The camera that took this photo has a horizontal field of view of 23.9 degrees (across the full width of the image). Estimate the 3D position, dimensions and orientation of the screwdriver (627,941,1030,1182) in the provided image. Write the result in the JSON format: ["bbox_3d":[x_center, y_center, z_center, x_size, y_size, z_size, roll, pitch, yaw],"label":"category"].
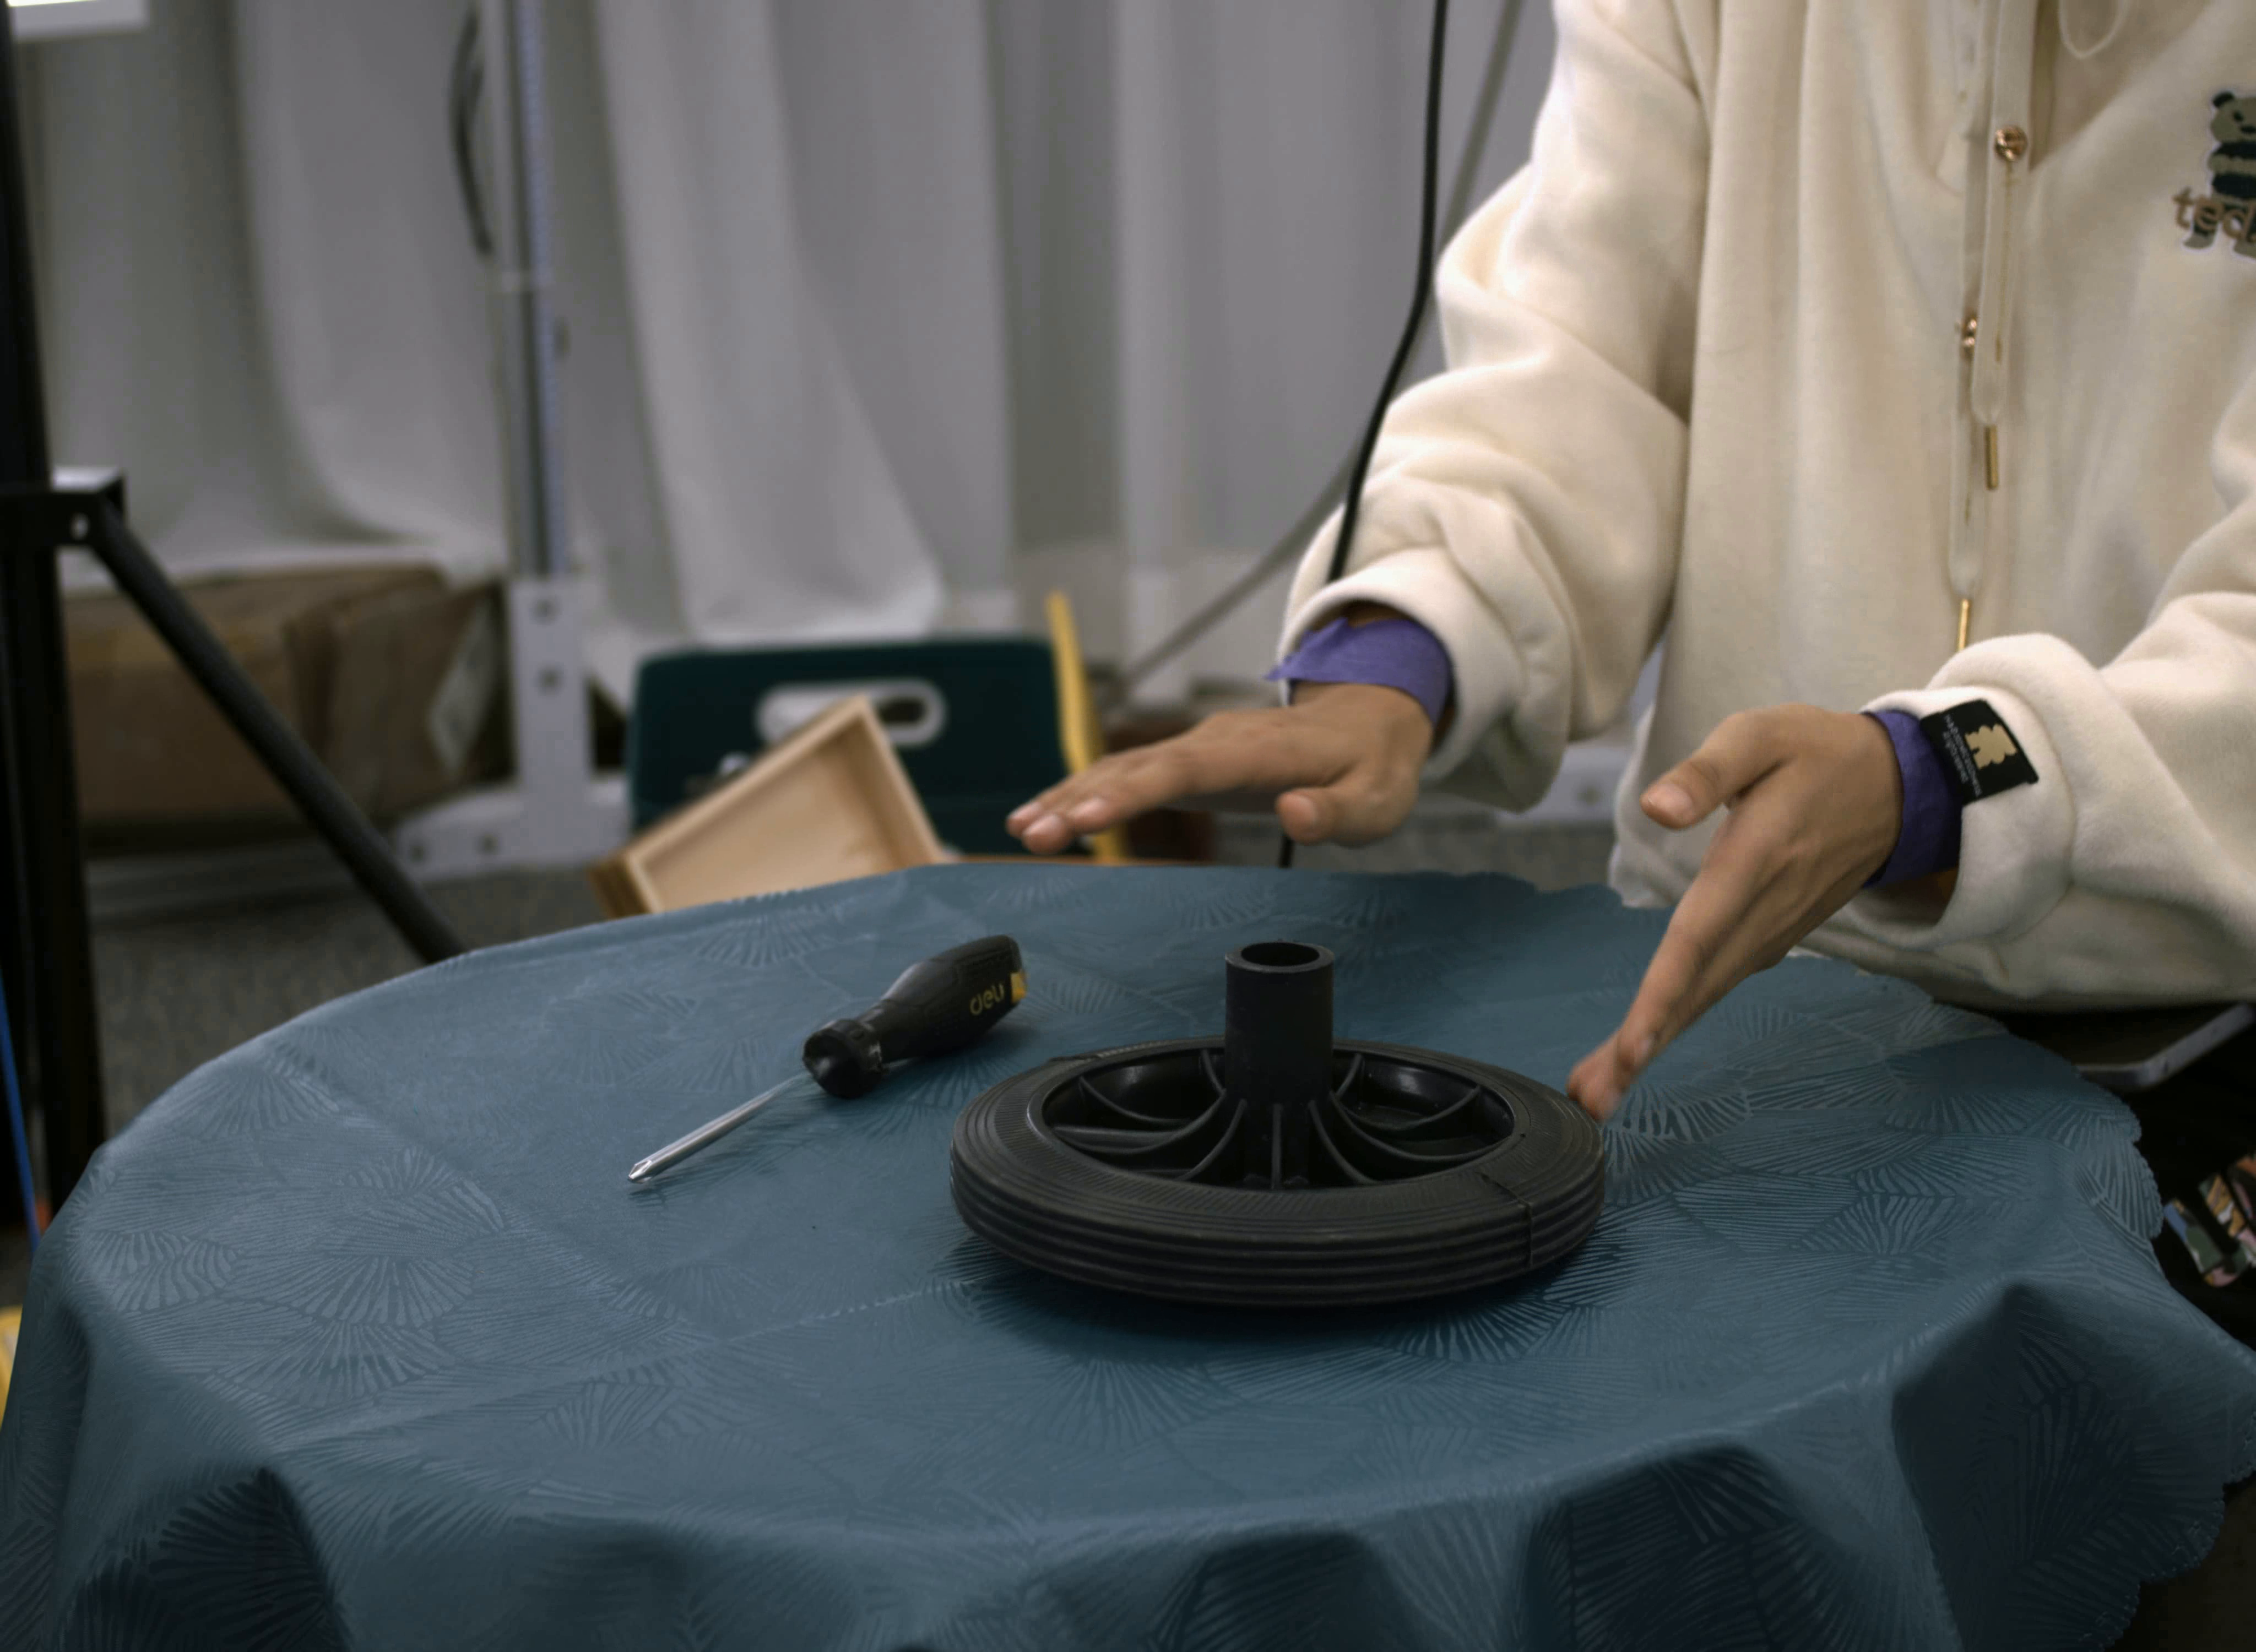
[{"bbox_3d":[-0.090,0.074,1.647,0.032,0.031,0.193,8,21,31],"label":"screwdriver"}]

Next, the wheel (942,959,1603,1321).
[{"bbox_3d":[0.041,0.080,1.511,0.188,0.079,0.189,-4,15,-8],"label":"wheel"}]
